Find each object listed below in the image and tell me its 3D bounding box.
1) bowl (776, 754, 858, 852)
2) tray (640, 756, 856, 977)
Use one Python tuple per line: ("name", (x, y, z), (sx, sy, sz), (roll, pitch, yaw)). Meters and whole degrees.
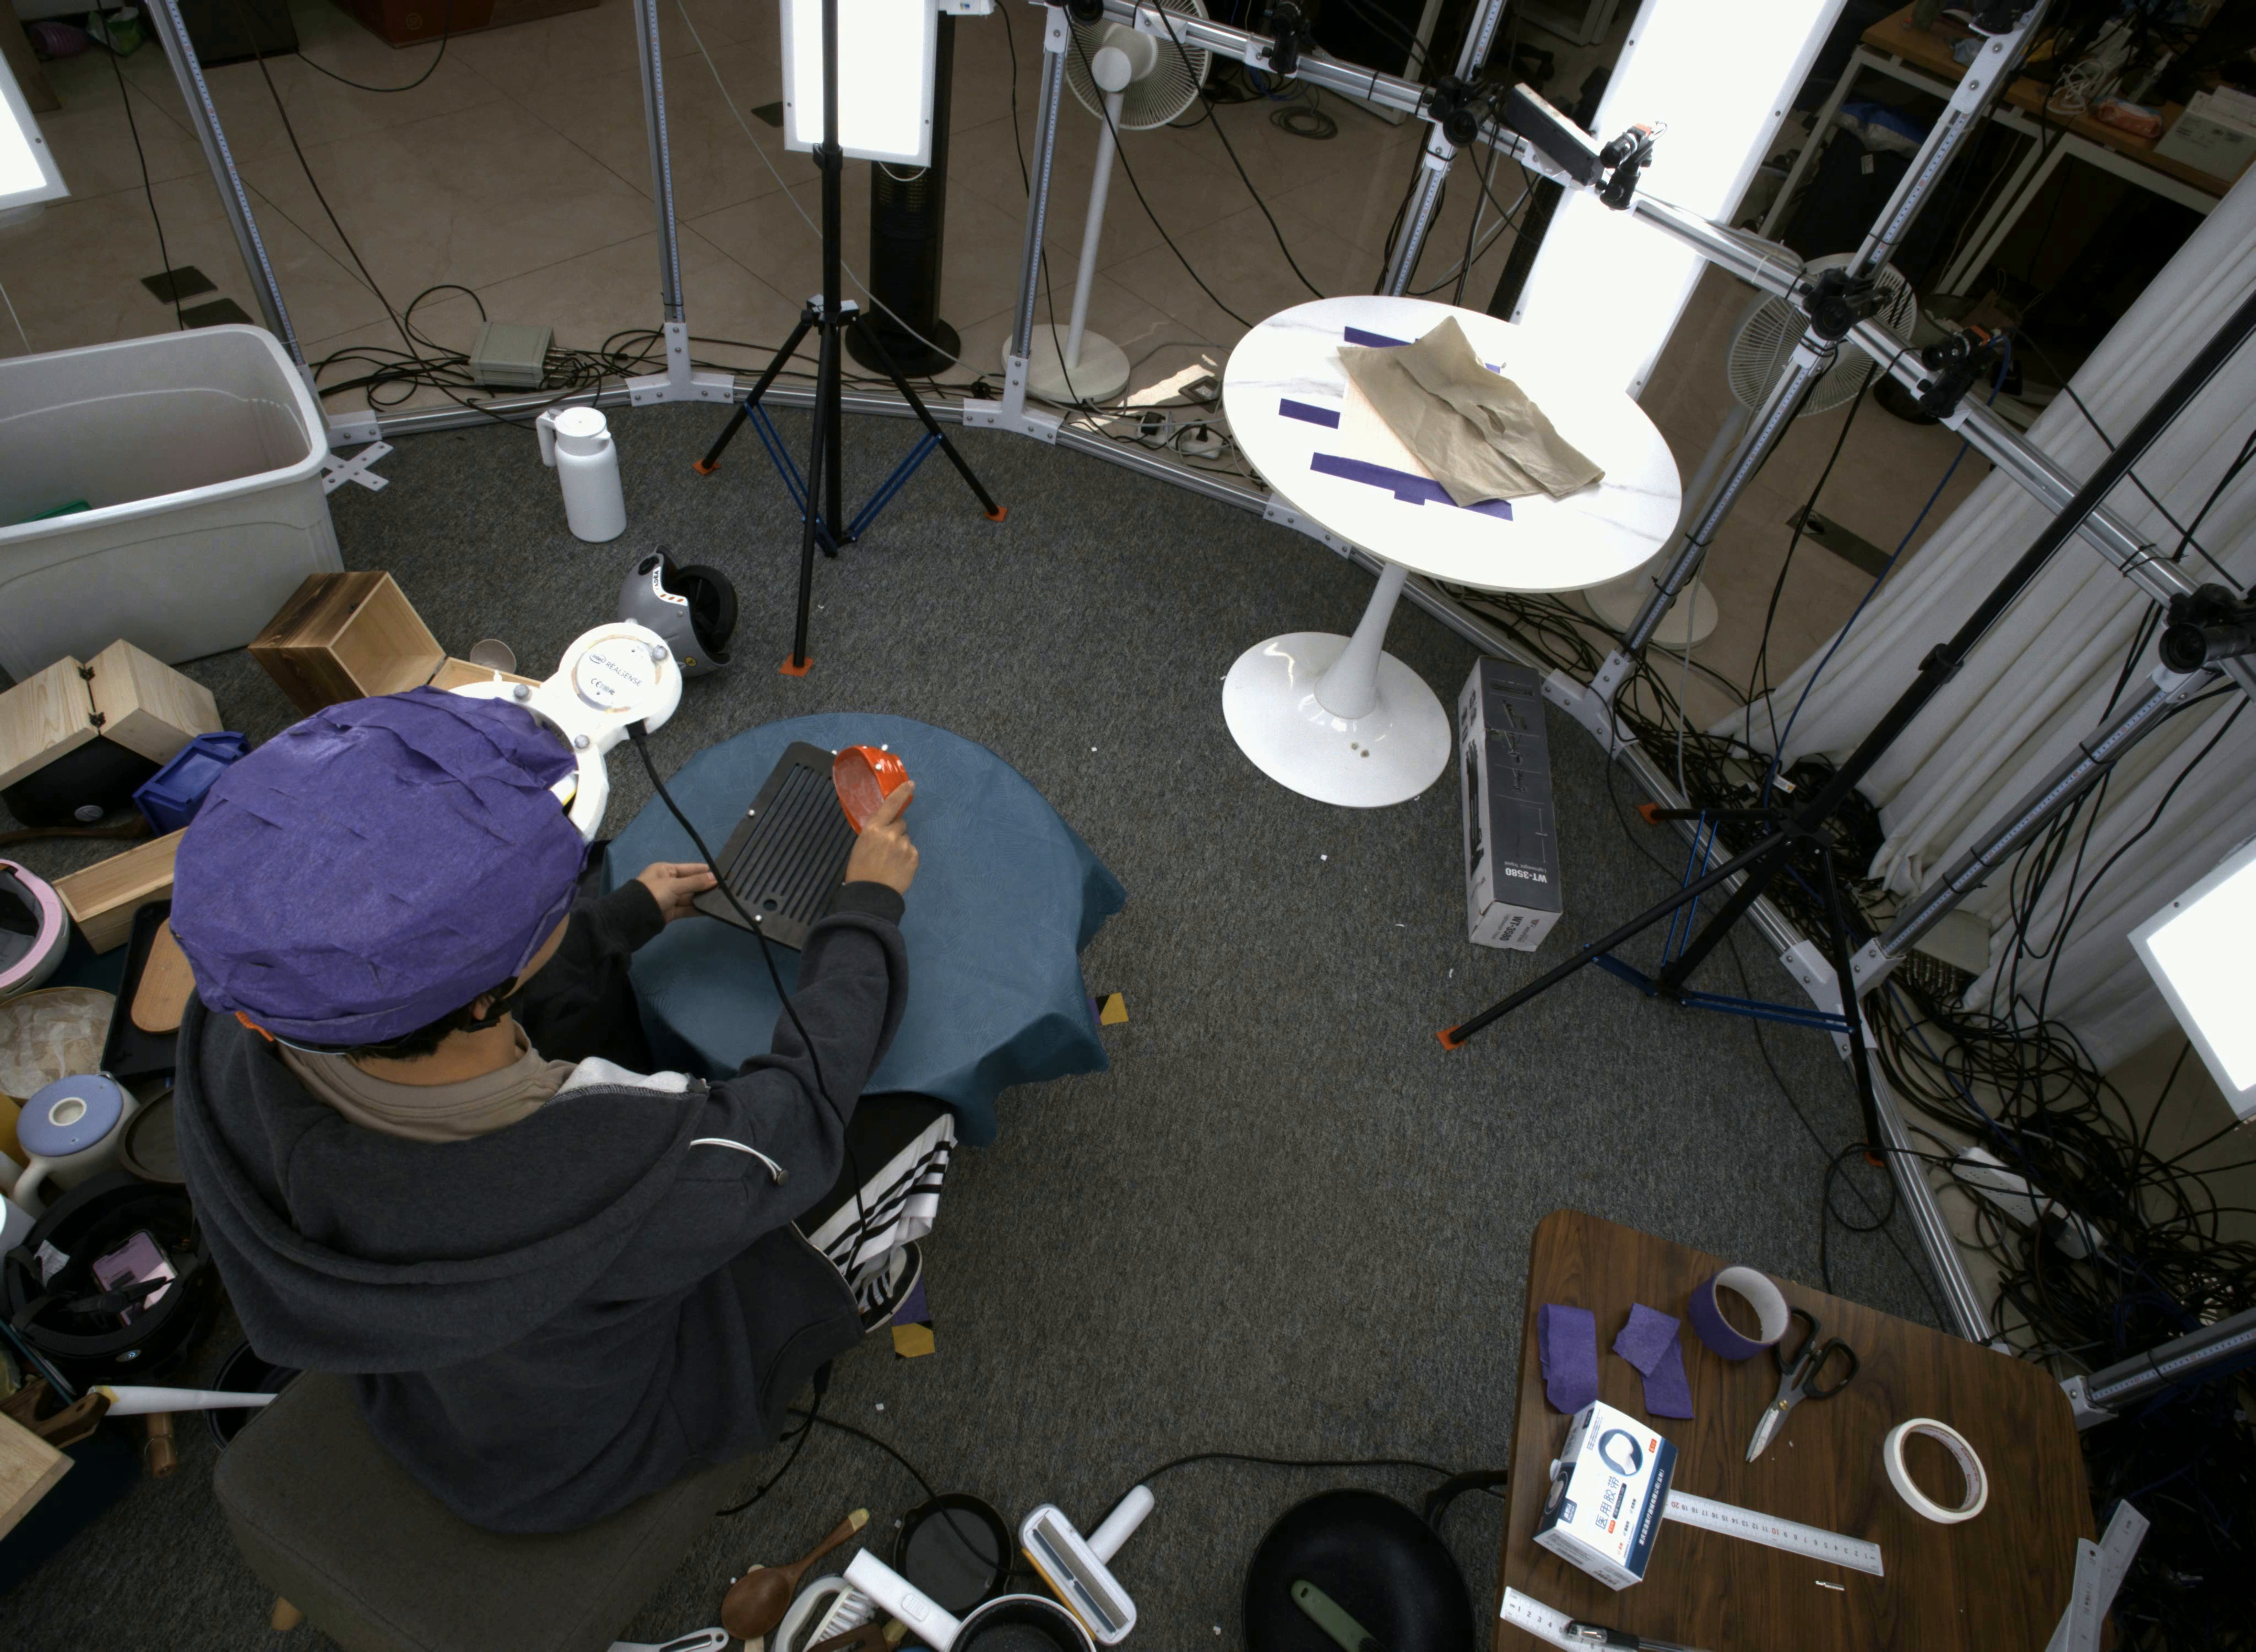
("bowl", (-0.356, -0.032, 1.507), (0.052, 0.121, 0.116), (-24, 60, -41))
("tray", (-0.464, 0.043, 1.600), (0.170, 0.019, 0.301), (21, 47, -7))
